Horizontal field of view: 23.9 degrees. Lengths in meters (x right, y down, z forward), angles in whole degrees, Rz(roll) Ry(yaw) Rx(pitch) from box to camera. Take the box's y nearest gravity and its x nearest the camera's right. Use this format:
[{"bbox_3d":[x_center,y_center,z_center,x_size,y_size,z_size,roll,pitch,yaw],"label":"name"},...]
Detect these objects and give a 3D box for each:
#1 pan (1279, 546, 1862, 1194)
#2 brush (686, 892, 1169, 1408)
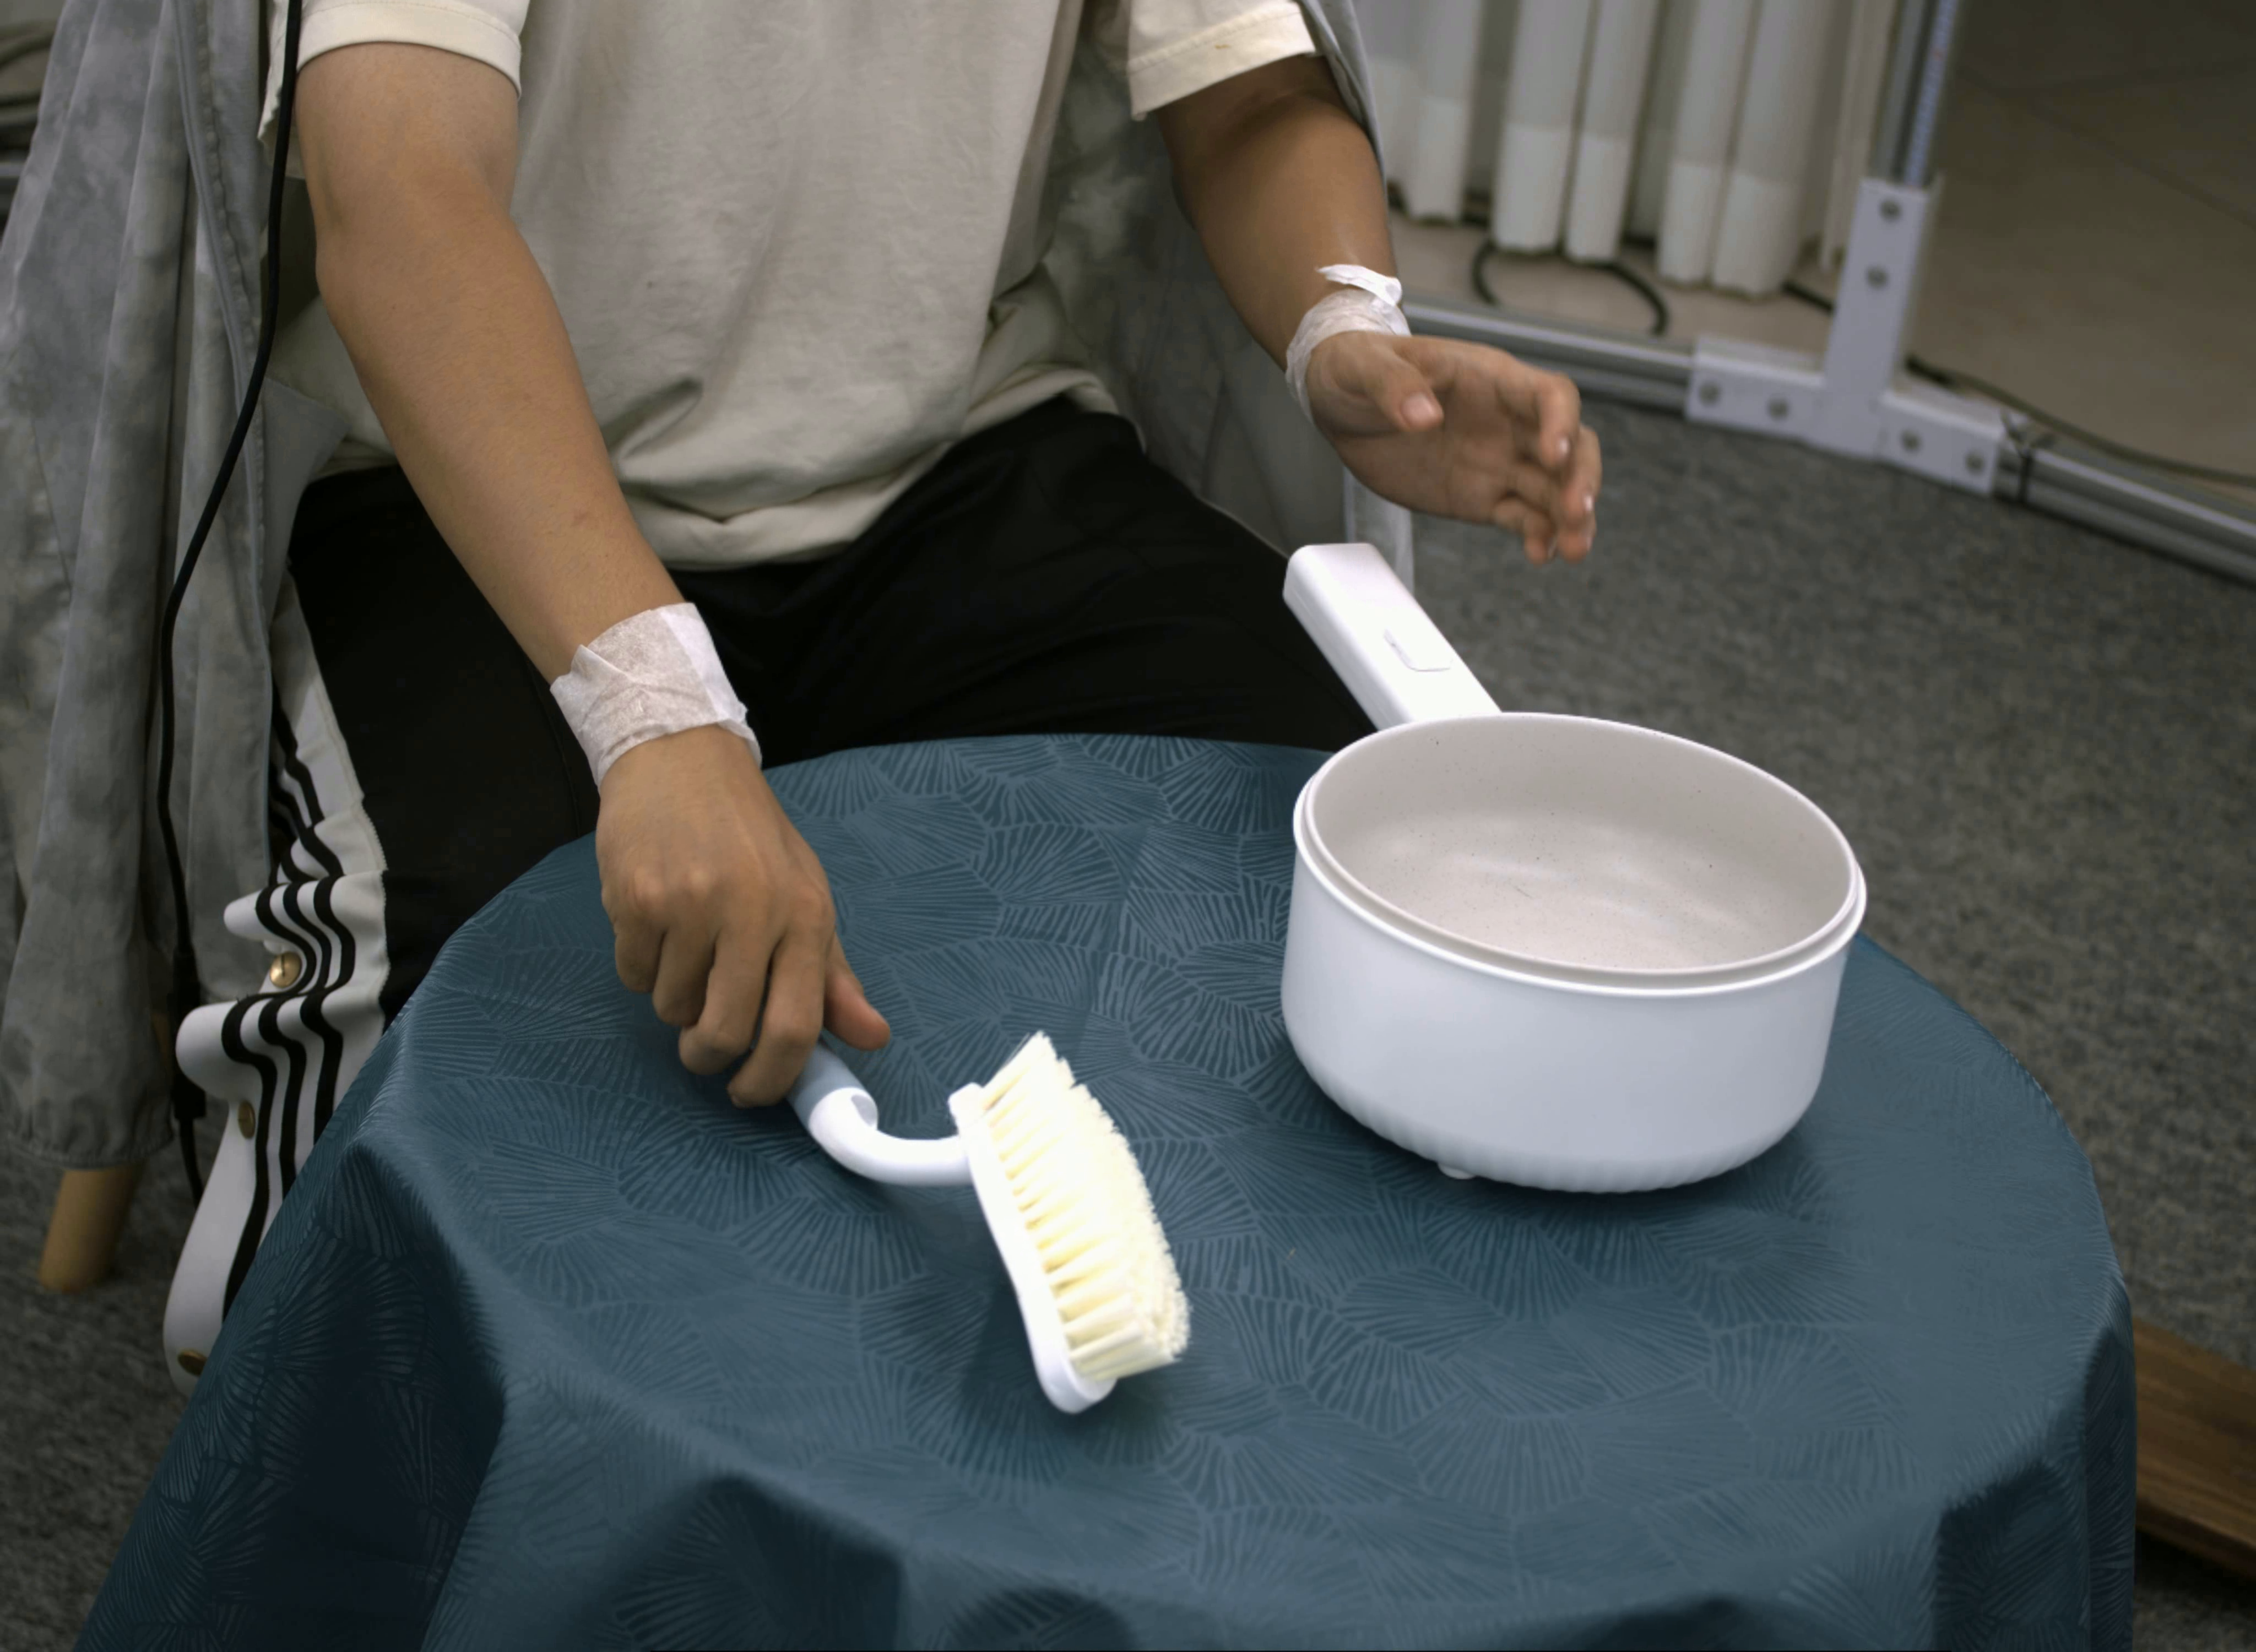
[{"bbox_3d":[0.129,0.013,1.941,0.200,0.102,0.358,-3,28,-18],"label":"pan"},{"bbox_3d":[-0.061,0.082,1.787,0.084,0.083,0.328,-6,29,-23],"label":"brush"}]
